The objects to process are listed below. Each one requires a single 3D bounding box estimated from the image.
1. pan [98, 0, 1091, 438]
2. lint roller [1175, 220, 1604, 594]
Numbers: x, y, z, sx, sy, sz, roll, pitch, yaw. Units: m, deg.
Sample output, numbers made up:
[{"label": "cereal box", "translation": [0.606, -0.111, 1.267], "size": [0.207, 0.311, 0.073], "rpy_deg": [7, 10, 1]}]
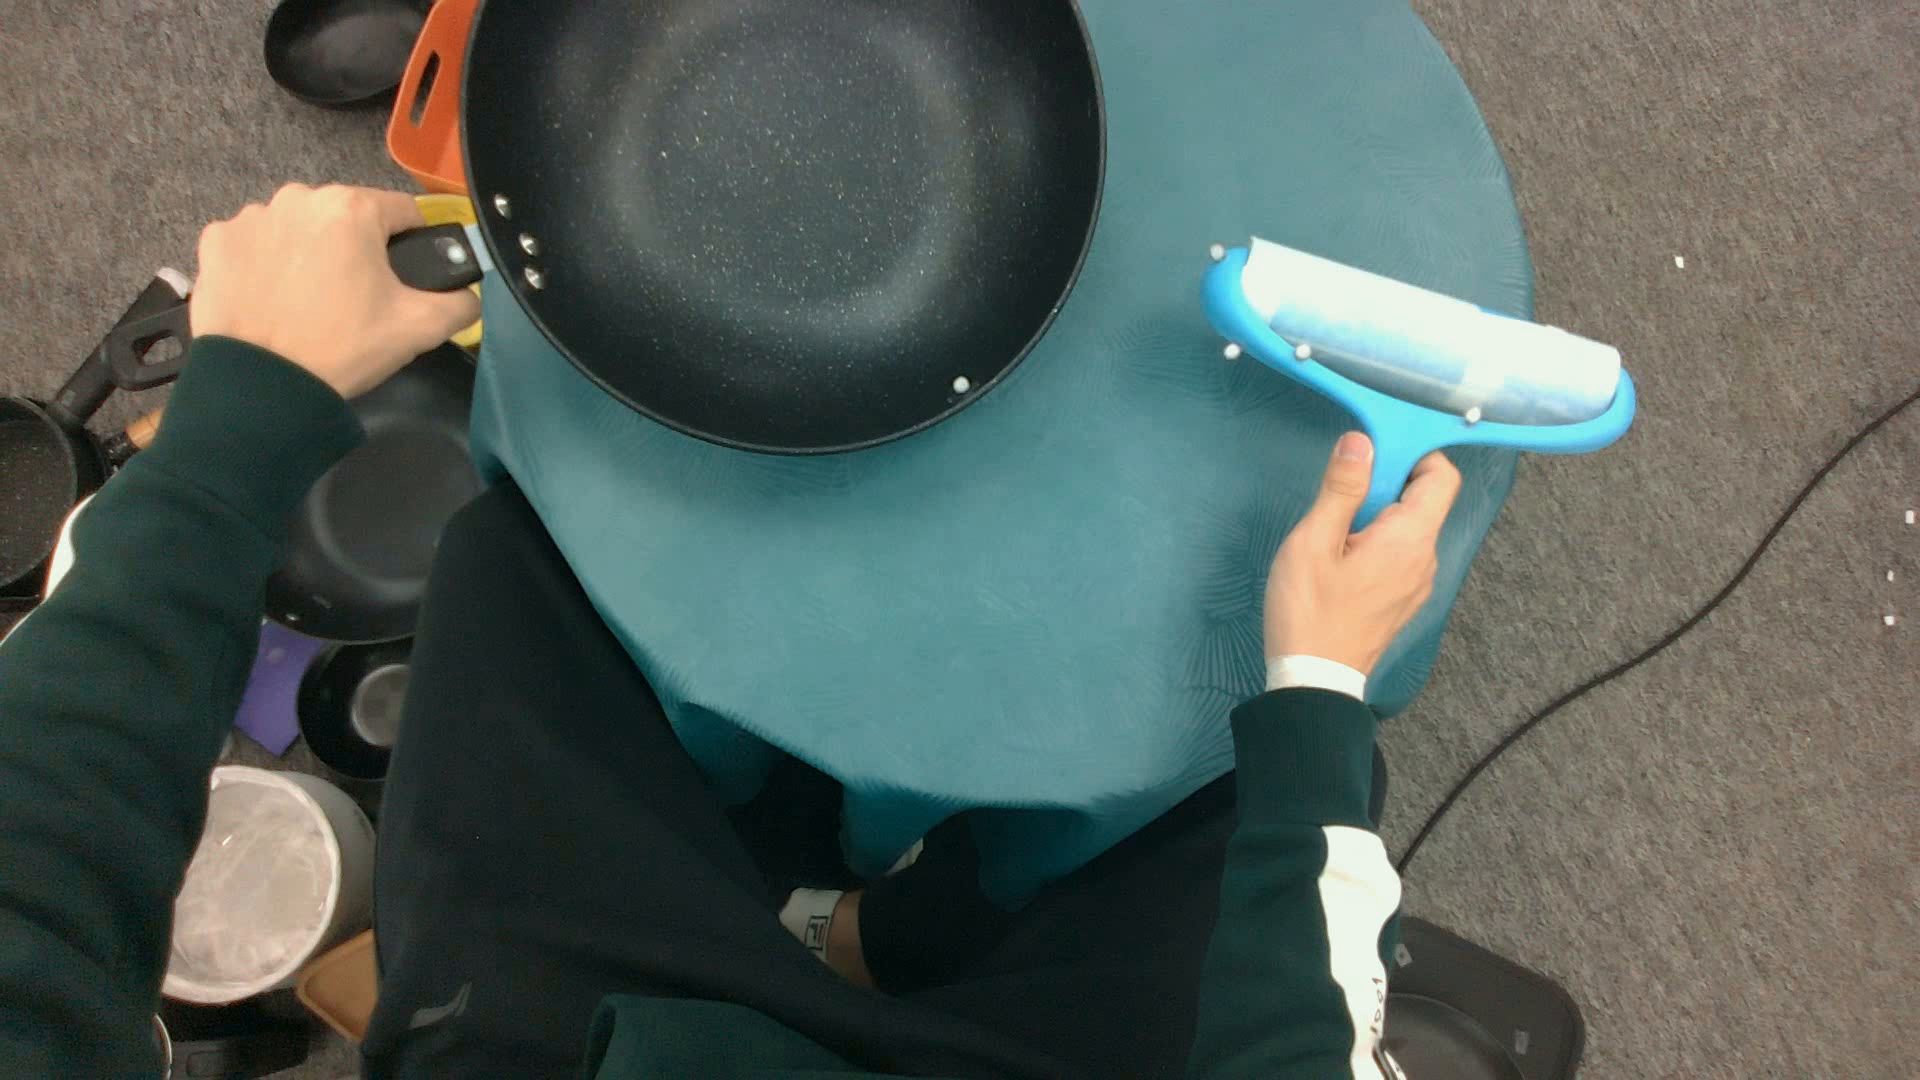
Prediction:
[{"label": "pan", "translation": [-0.166, -0.171, 0.686], "size": [0.477, 0.111, 0.310], "rpy_deg": [-24, 94, -8]}, {"label": "lint roller", "translation": [0.212, -0.062, 0.714], "size": [0.229, 0.068, 0.180], "rpy_deg": [13, 79, 0]}]
